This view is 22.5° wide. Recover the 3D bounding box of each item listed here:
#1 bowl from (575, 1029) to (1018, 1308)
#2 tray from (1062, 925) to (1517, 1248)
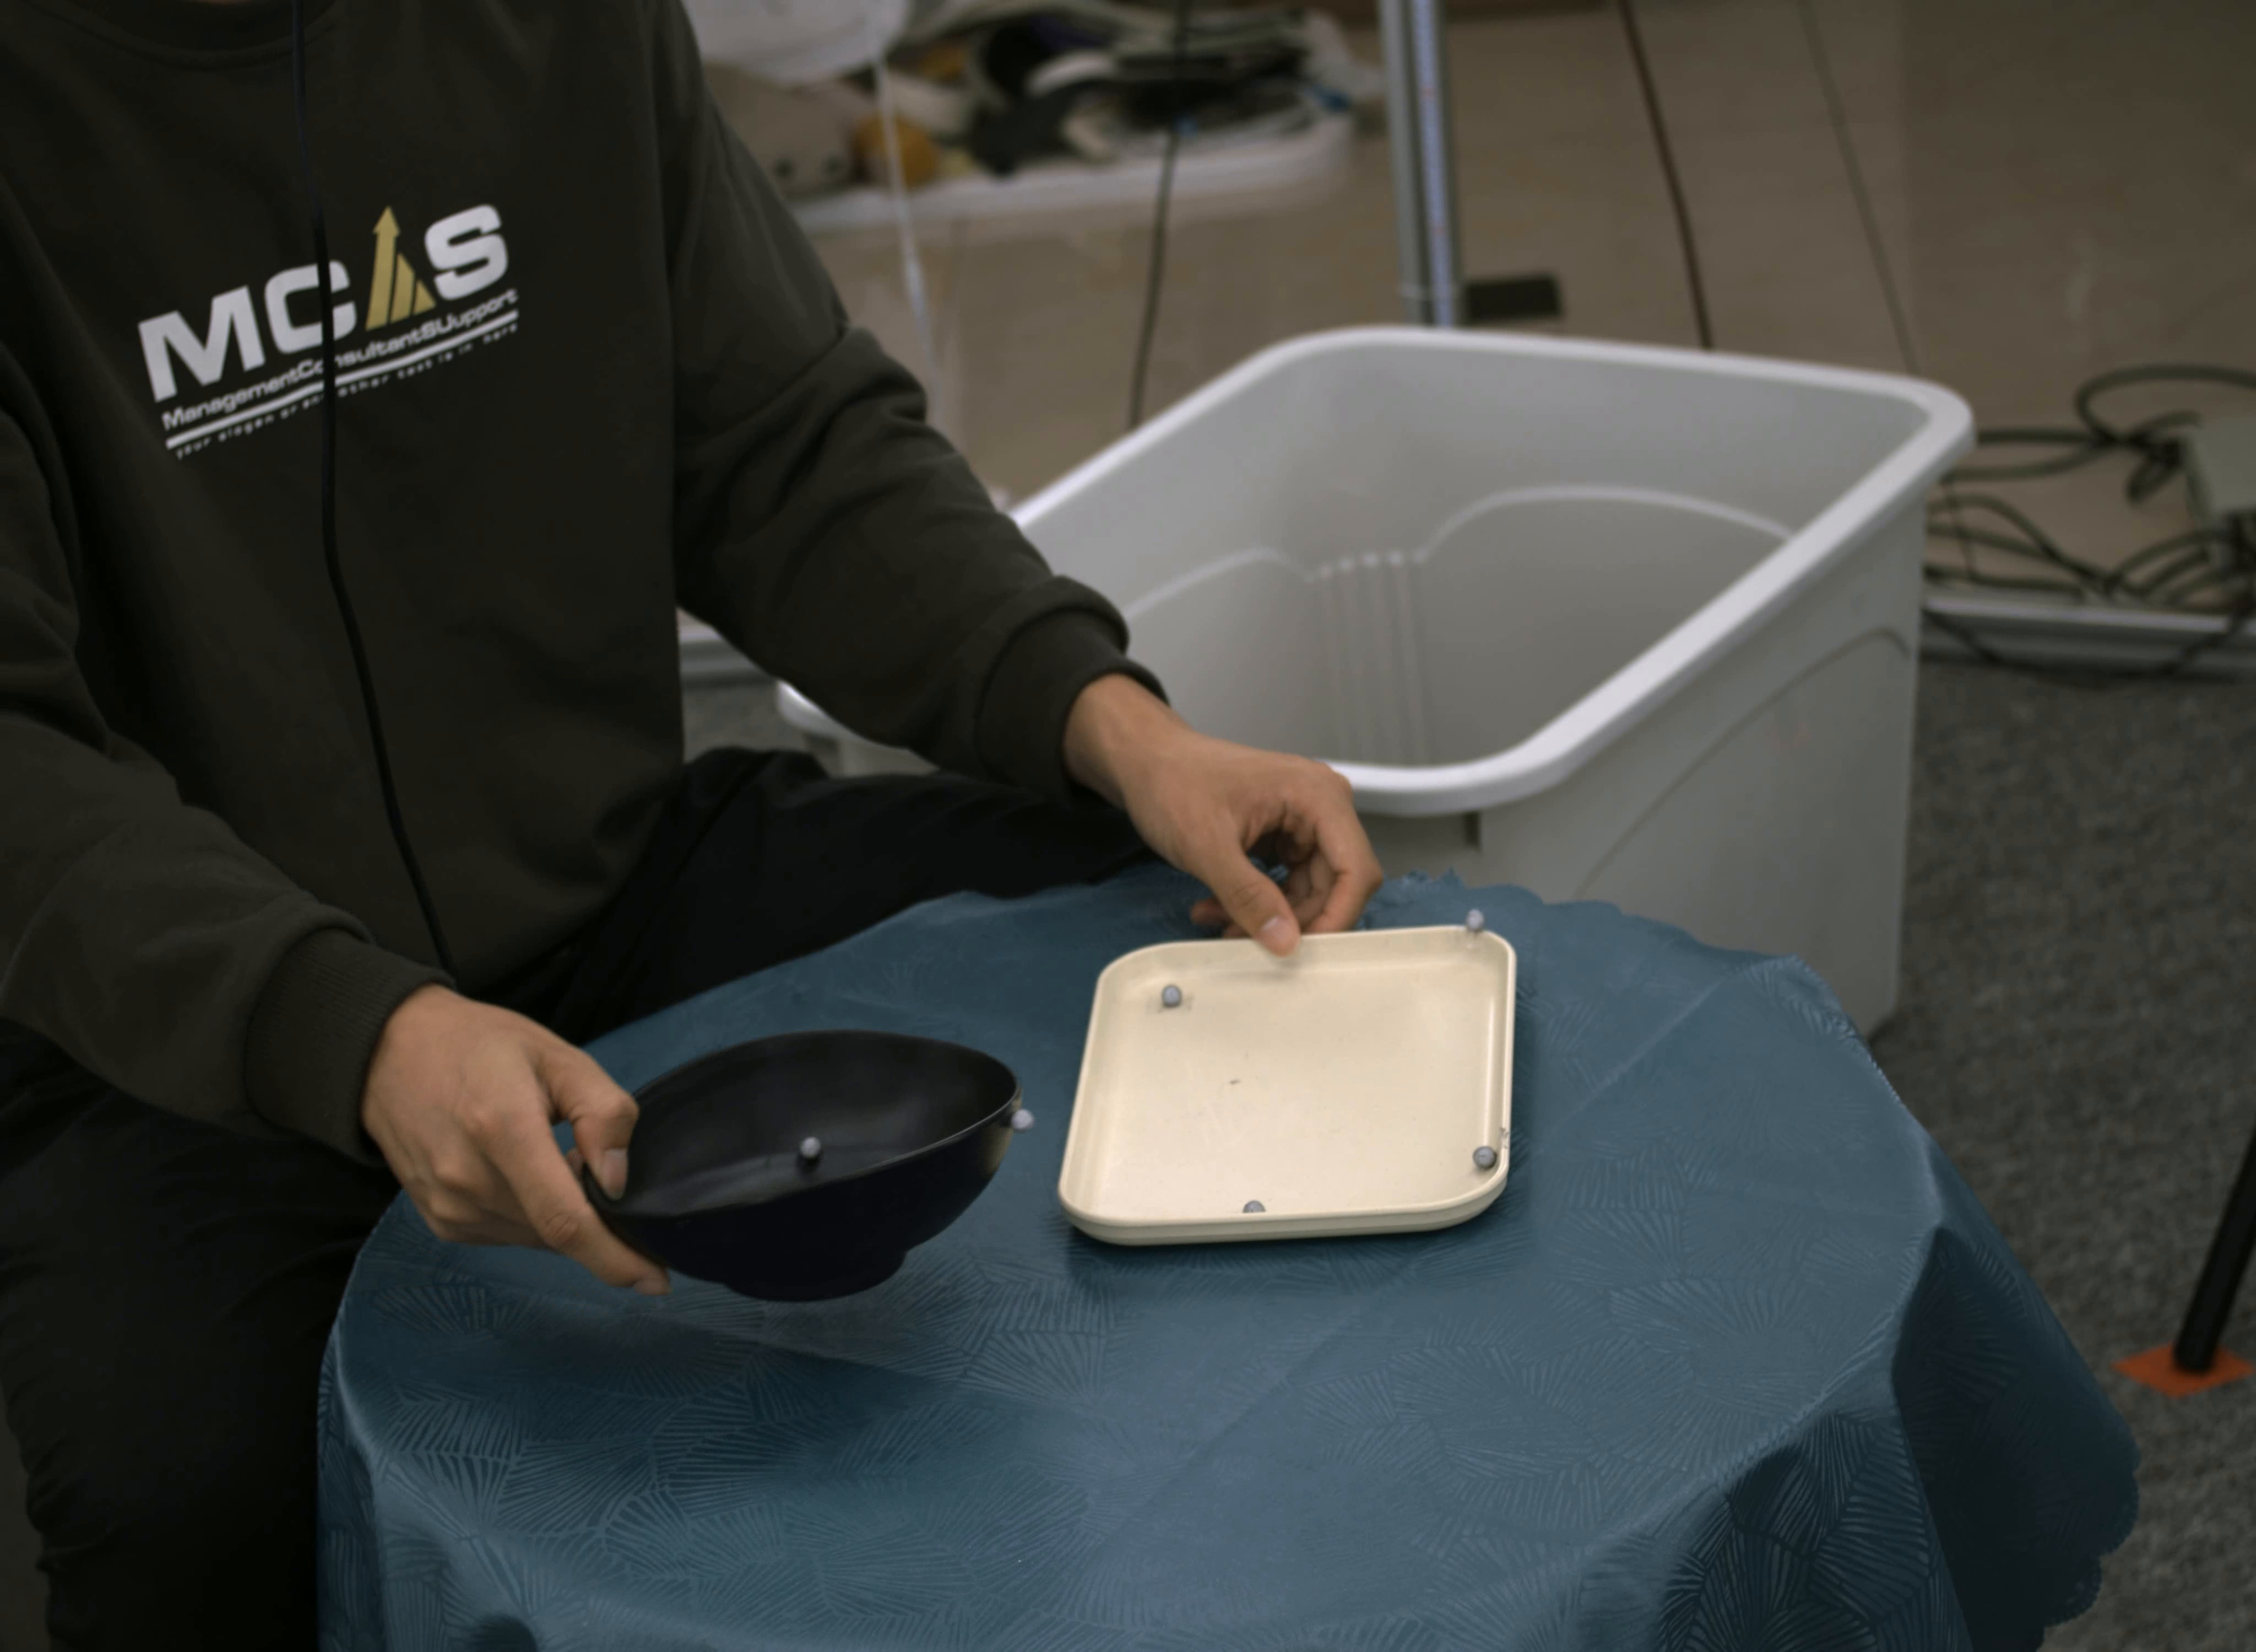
[{"bbox_3d":[-0.116,0.131,2.050,0.169,0.067,0.136,-20,24,-33],"label":"bowl"},{"bbox_3d":[0.066,0.100,2.194,0.171,0.018,0.236,-4,25,7],"label":"tray"}]
